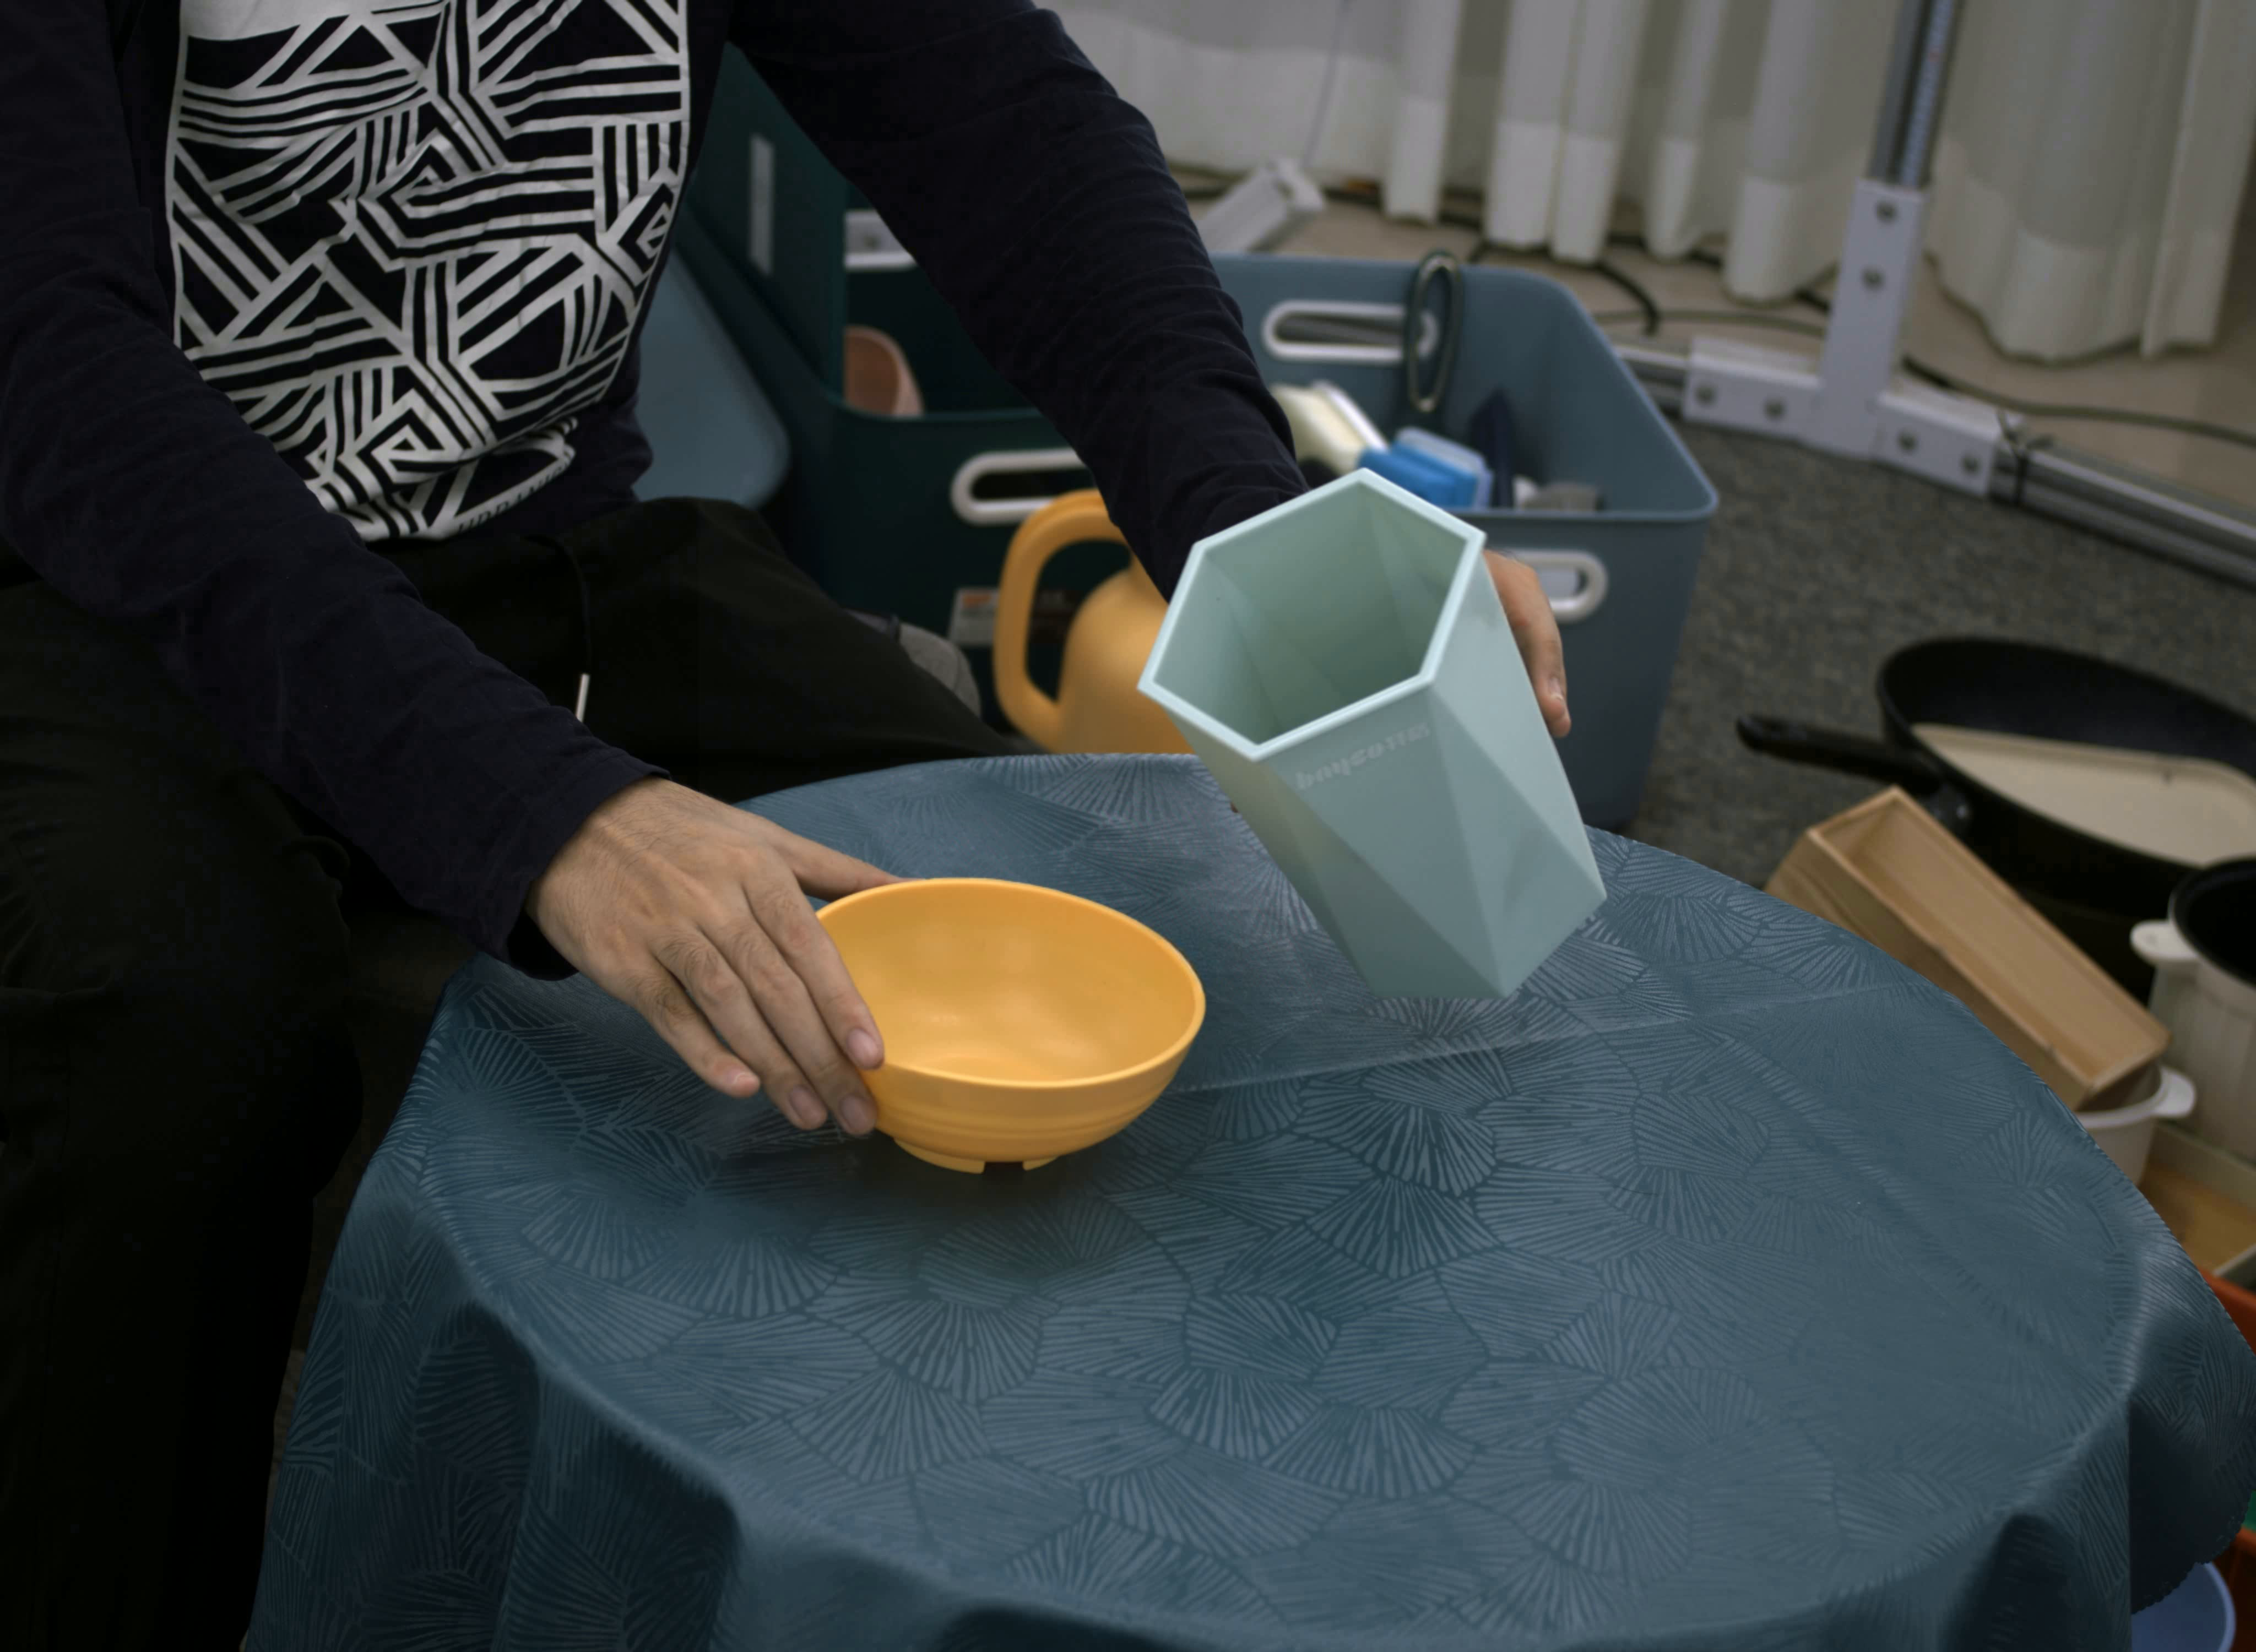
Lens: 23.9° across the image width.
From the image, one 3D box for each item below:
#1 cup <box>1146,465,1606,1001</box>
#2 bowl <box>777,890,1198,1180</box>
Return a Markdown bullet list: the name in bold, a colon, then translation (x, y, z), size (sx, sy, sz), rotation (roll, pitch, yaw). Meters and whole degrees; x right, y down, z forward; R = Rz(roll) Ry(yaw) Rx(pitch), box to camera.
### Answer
- **cup**: translation (0.096, -0.024, 1.870), size (0.131, 0.161, 0.116), rotation (-24, 40, 8)
- **bowl**: translation (-0.050, 0.080, 1.823), size (0.145, 0.060, 0.146), rotation (5, 24, -3)
